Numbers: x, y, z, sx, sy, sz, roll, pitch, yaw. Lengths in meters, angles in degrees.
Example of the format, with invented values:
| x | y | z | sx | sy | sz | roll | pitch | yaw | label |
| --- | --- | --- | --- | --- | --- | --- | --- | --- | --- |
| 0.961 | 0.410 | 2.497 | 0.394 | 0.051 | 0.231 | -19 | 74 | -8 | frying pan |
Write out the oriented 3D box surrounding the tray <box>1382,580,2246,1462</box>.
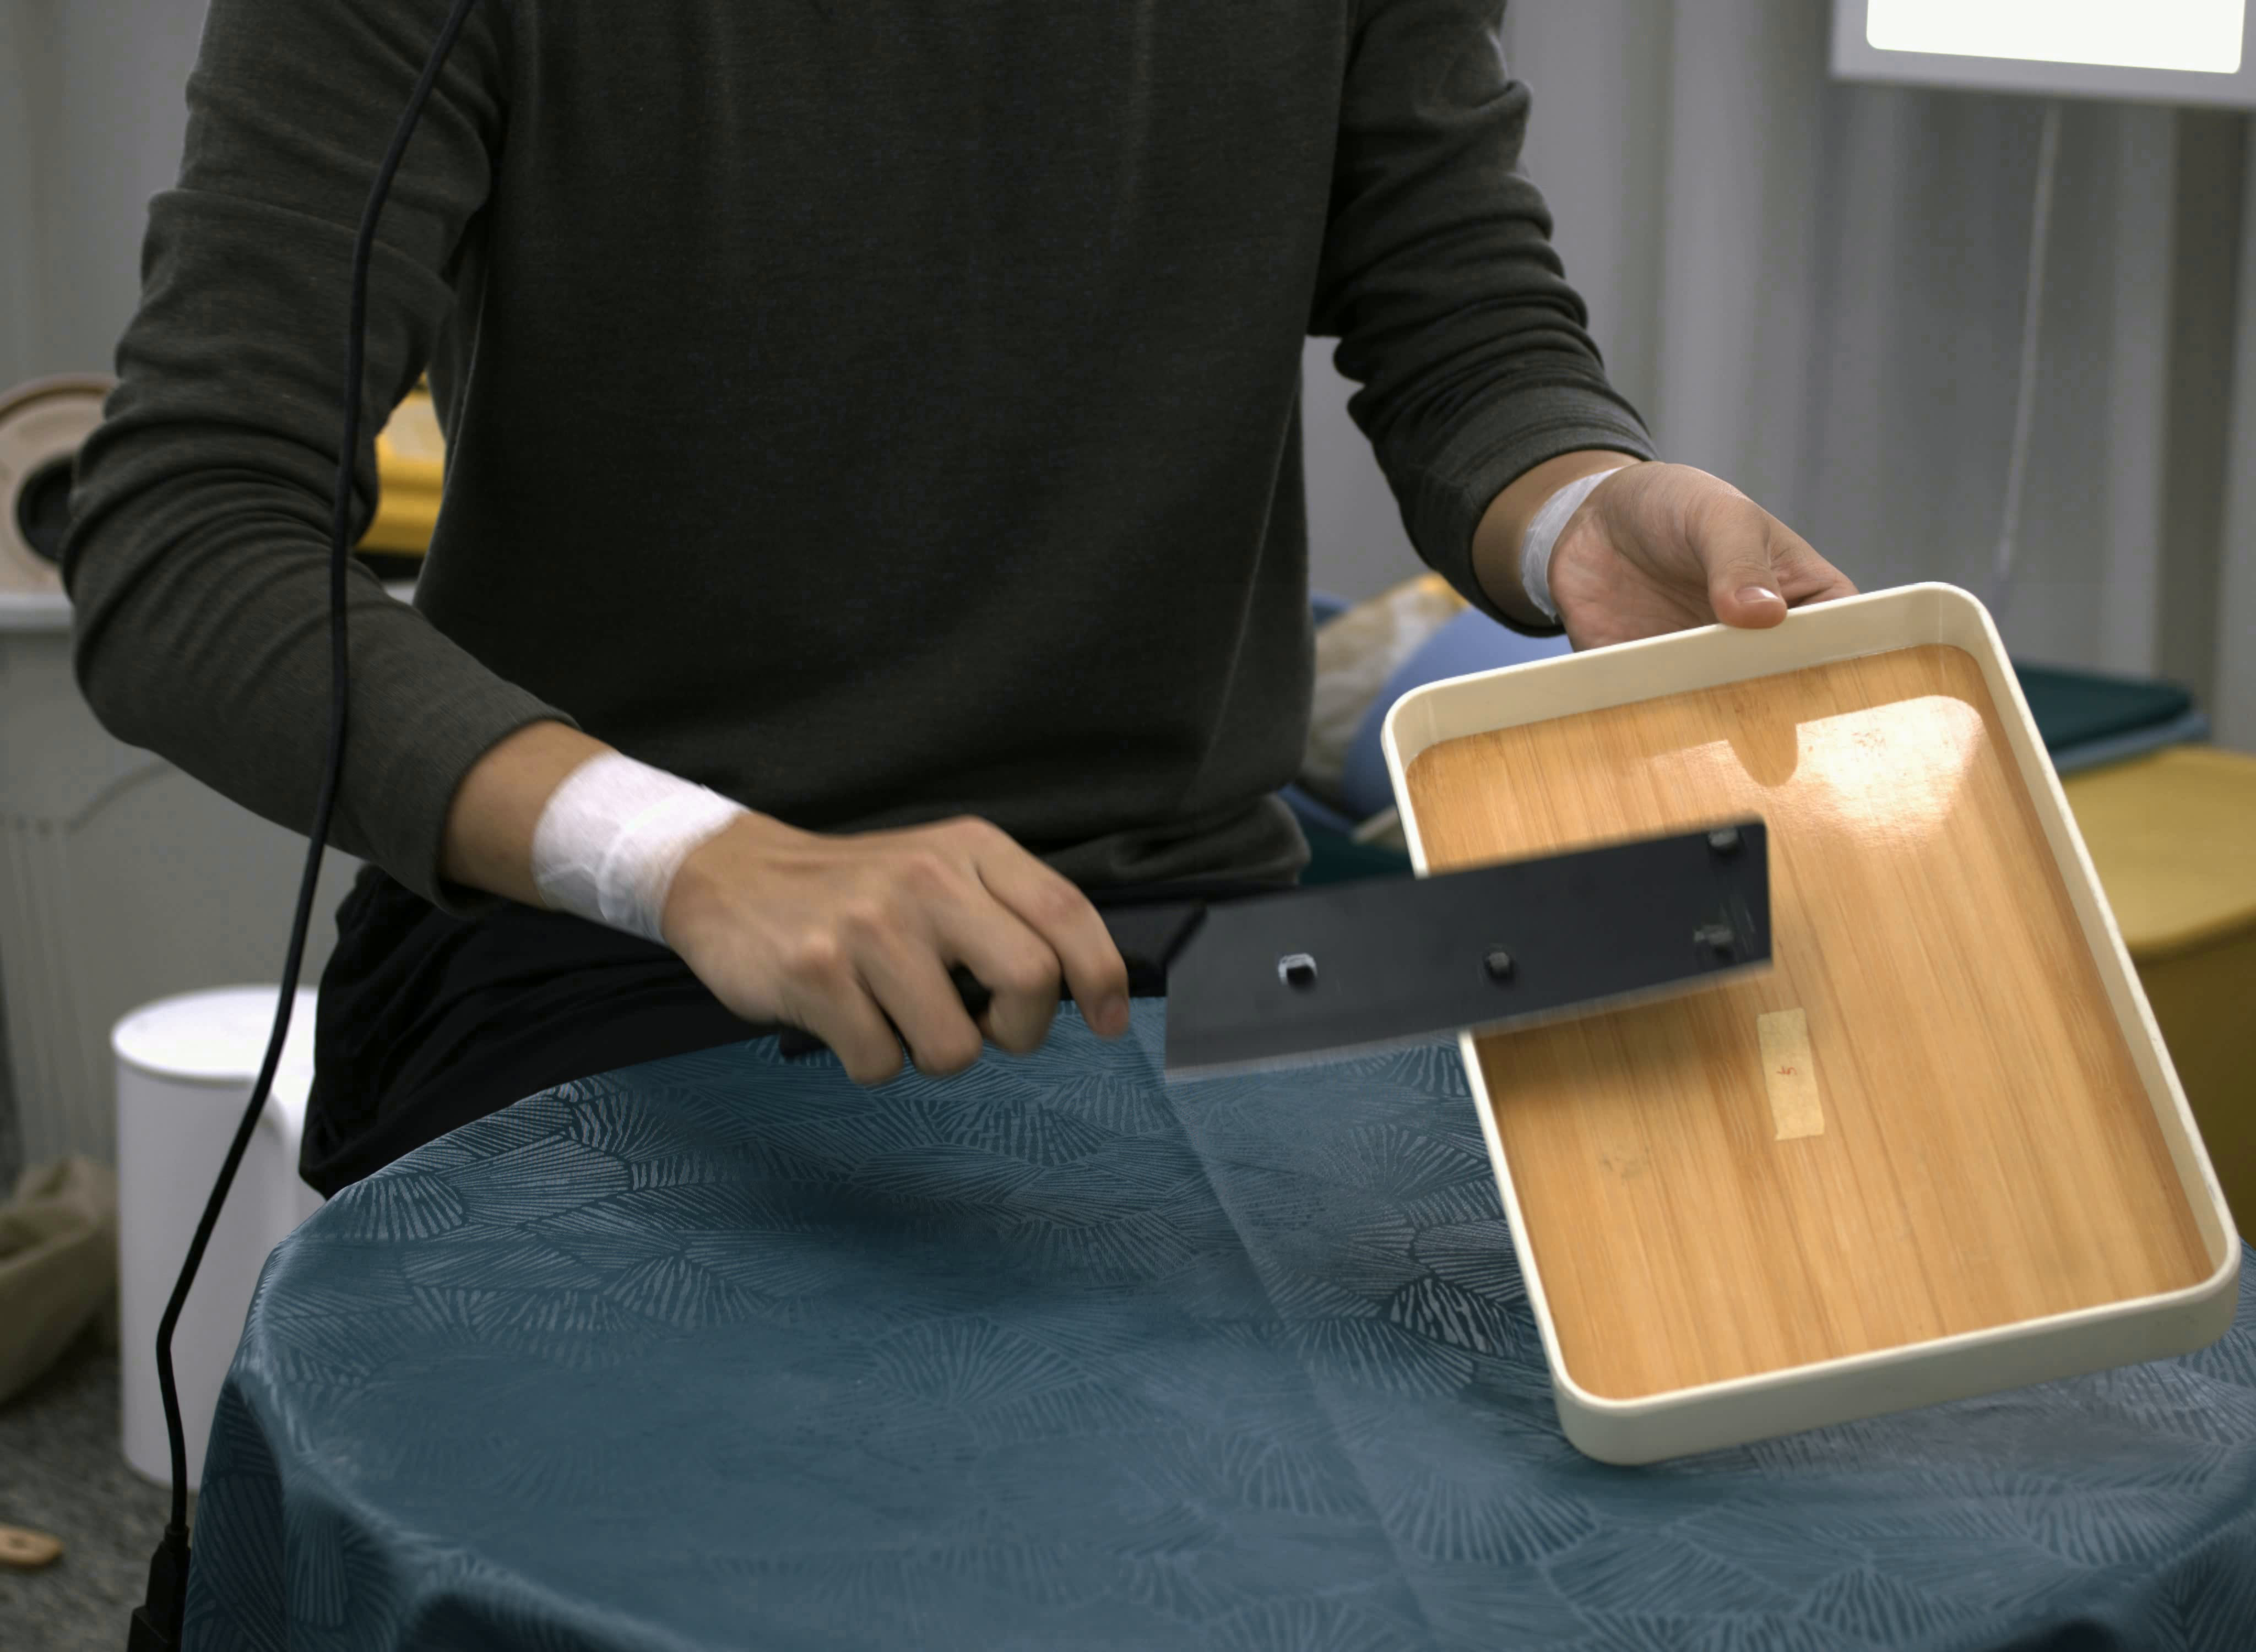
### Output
| x | y | z | sx | sy | sz | roll | pitch | yaw | label |
| --- | --- | --- | --- | --- | --- | --- | --- | --- | --- |
| 0.190 | 0.048 | 1.513 | 0.191 | 0.028 | 0.297 | -11 | 44 | -1 | tray |

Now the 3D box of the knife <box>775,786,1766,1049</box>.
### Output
| x | y | z | sx | sy | sz | roll | pitch | yaw | label |
| --- | --- | --- | --- | --- | --- | --- | --- | --- | --- |
| 0.040 | 0.035 | 1.545 | 0.300 | 0.021 | 0.080 | -8 | 44 | 15 | knife |
